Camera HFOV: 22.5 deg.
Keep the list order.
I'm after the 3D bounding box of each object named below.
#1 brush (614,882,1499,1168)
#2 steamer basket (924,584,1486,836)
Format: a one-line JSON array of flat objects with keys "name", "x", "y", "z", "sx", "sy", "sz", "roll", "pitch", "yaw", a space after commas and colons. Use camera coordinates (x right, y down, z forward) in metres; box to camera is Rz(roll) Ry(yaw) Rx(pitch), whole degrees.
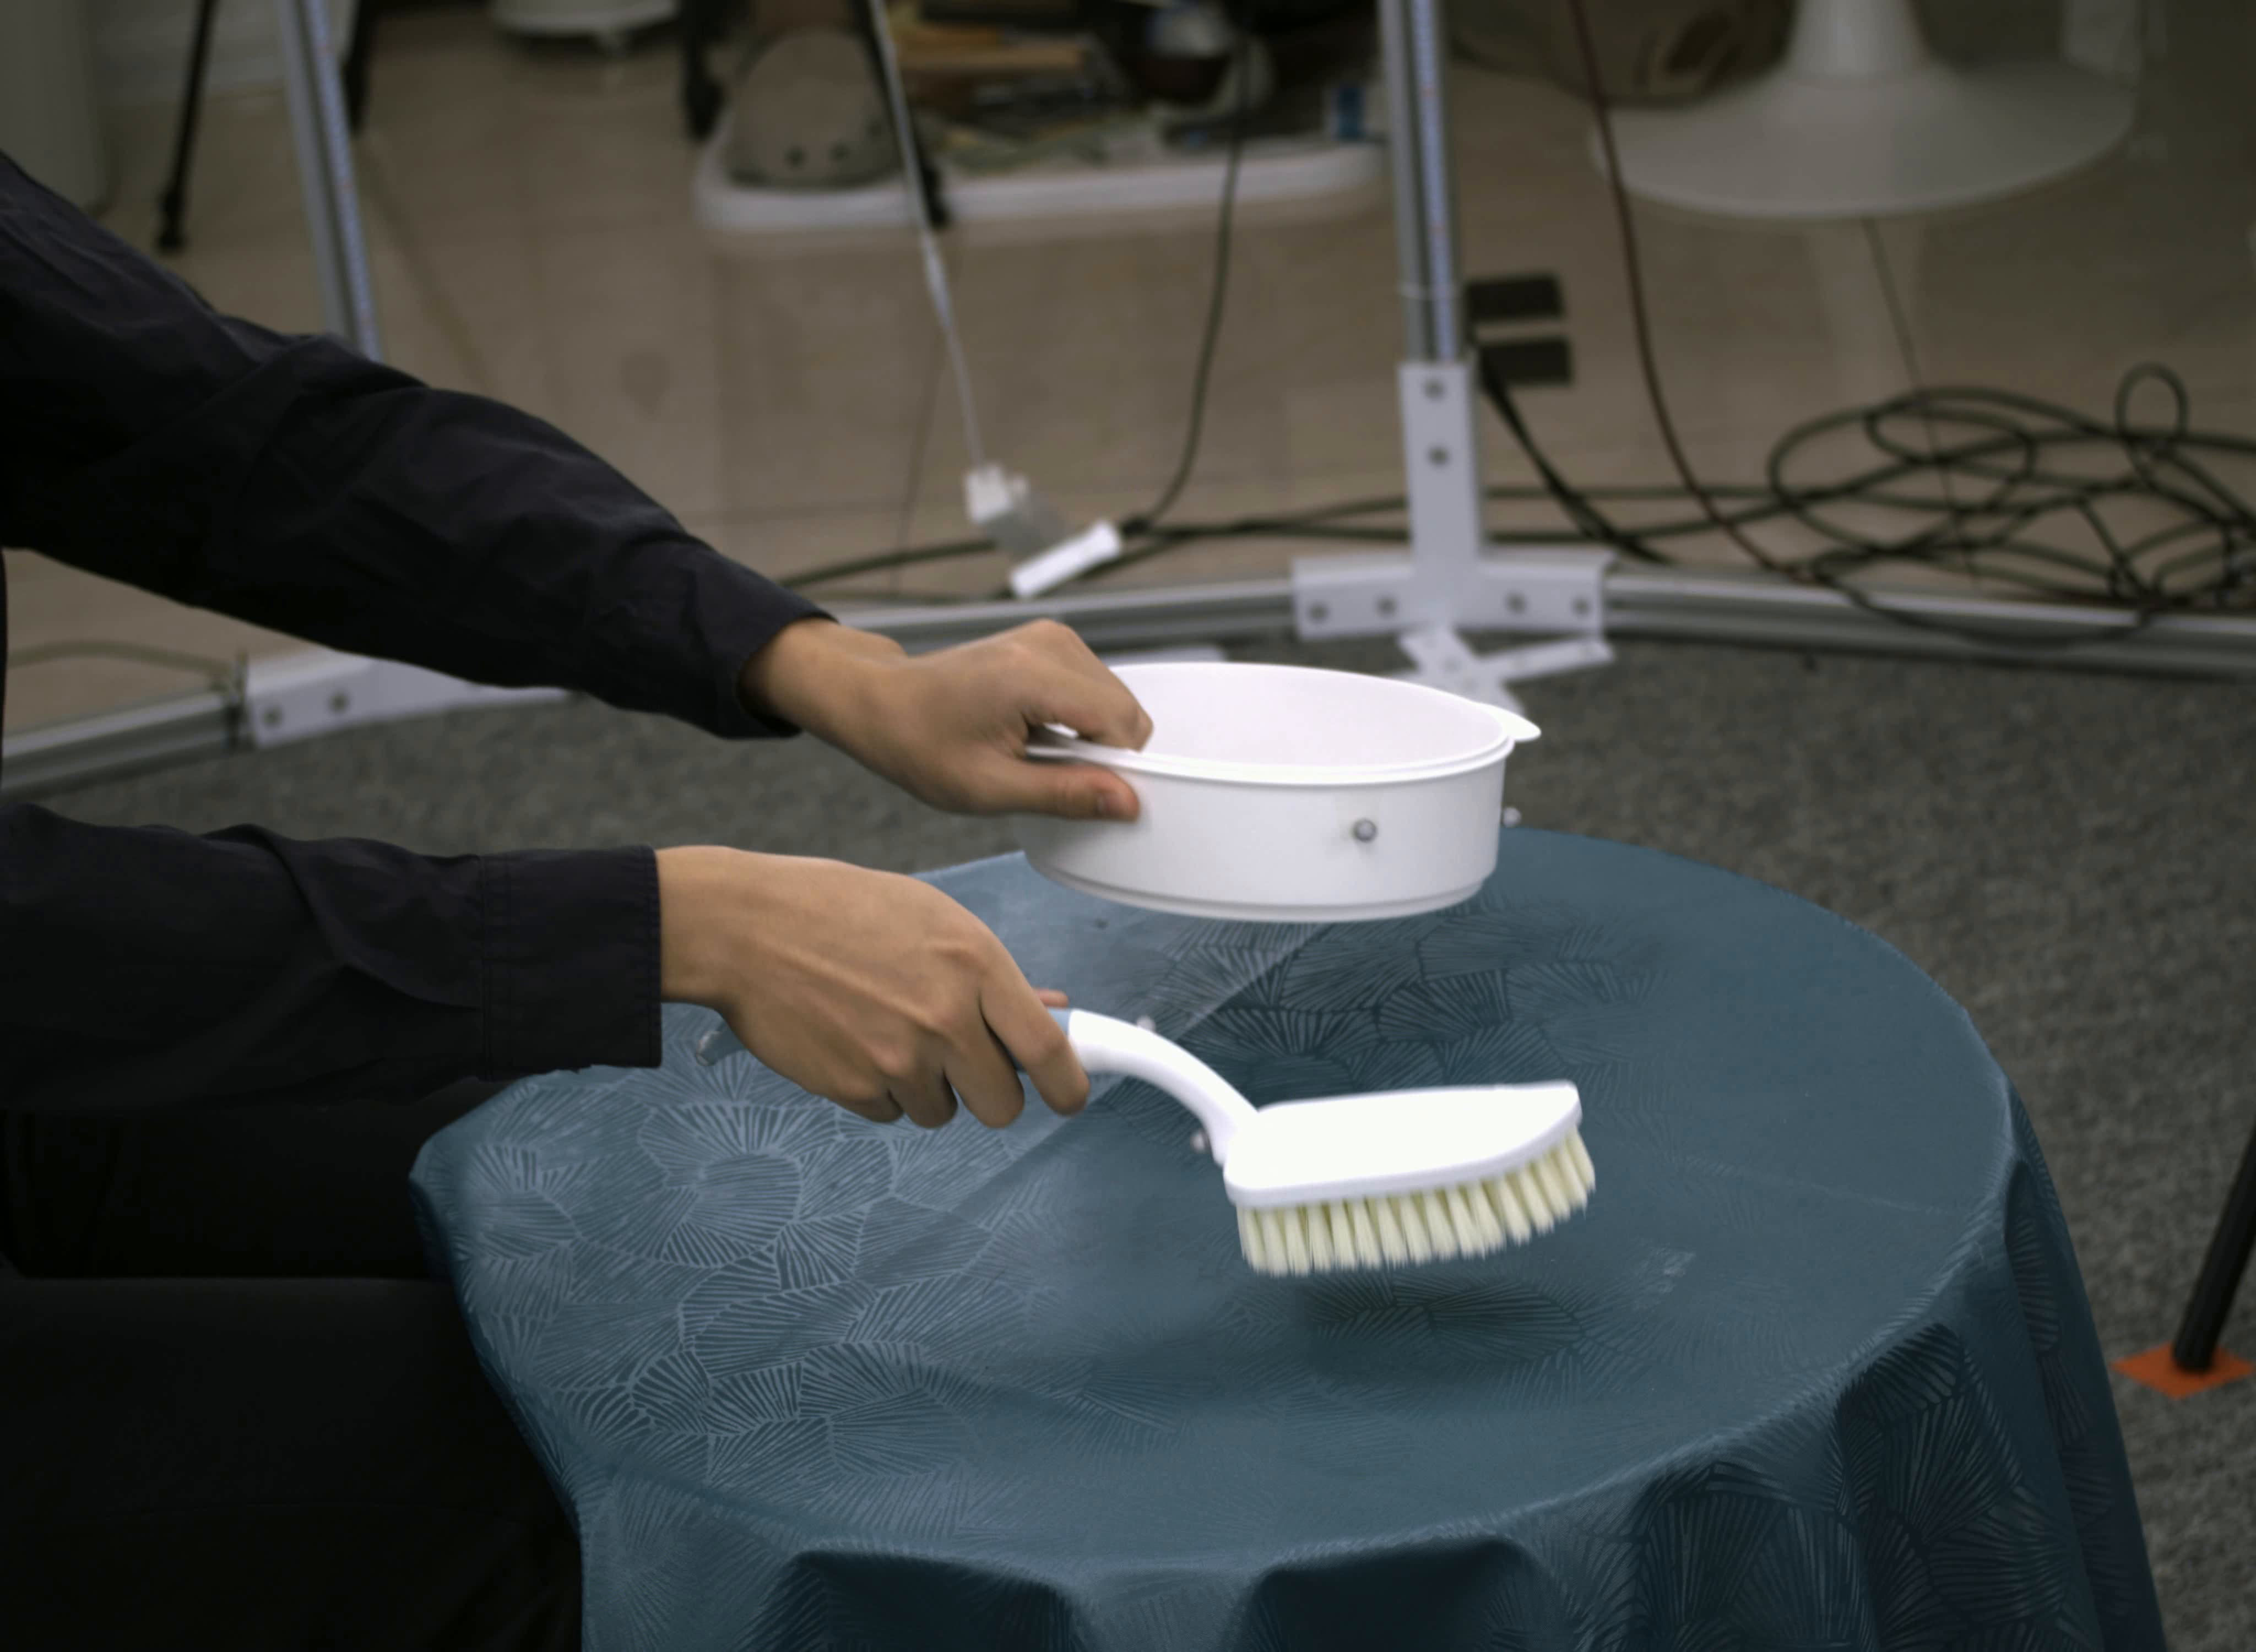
[{"name": "brush", "x": -0.027, "y": 0.080, "z": 2.064, "sx": 0.325, "sy": 0.084, "sz": 0.084, "roll": 5, "pitch": -12, "yaw": 8}, {"name": "steamer basket", "x": 0.031, "y": -0.047, "z": 2.277, "sx": 0.230, "sy": 0.070, "sz": 0.200, "roll": -2, "pitch": 14, "yaw": -19}]
